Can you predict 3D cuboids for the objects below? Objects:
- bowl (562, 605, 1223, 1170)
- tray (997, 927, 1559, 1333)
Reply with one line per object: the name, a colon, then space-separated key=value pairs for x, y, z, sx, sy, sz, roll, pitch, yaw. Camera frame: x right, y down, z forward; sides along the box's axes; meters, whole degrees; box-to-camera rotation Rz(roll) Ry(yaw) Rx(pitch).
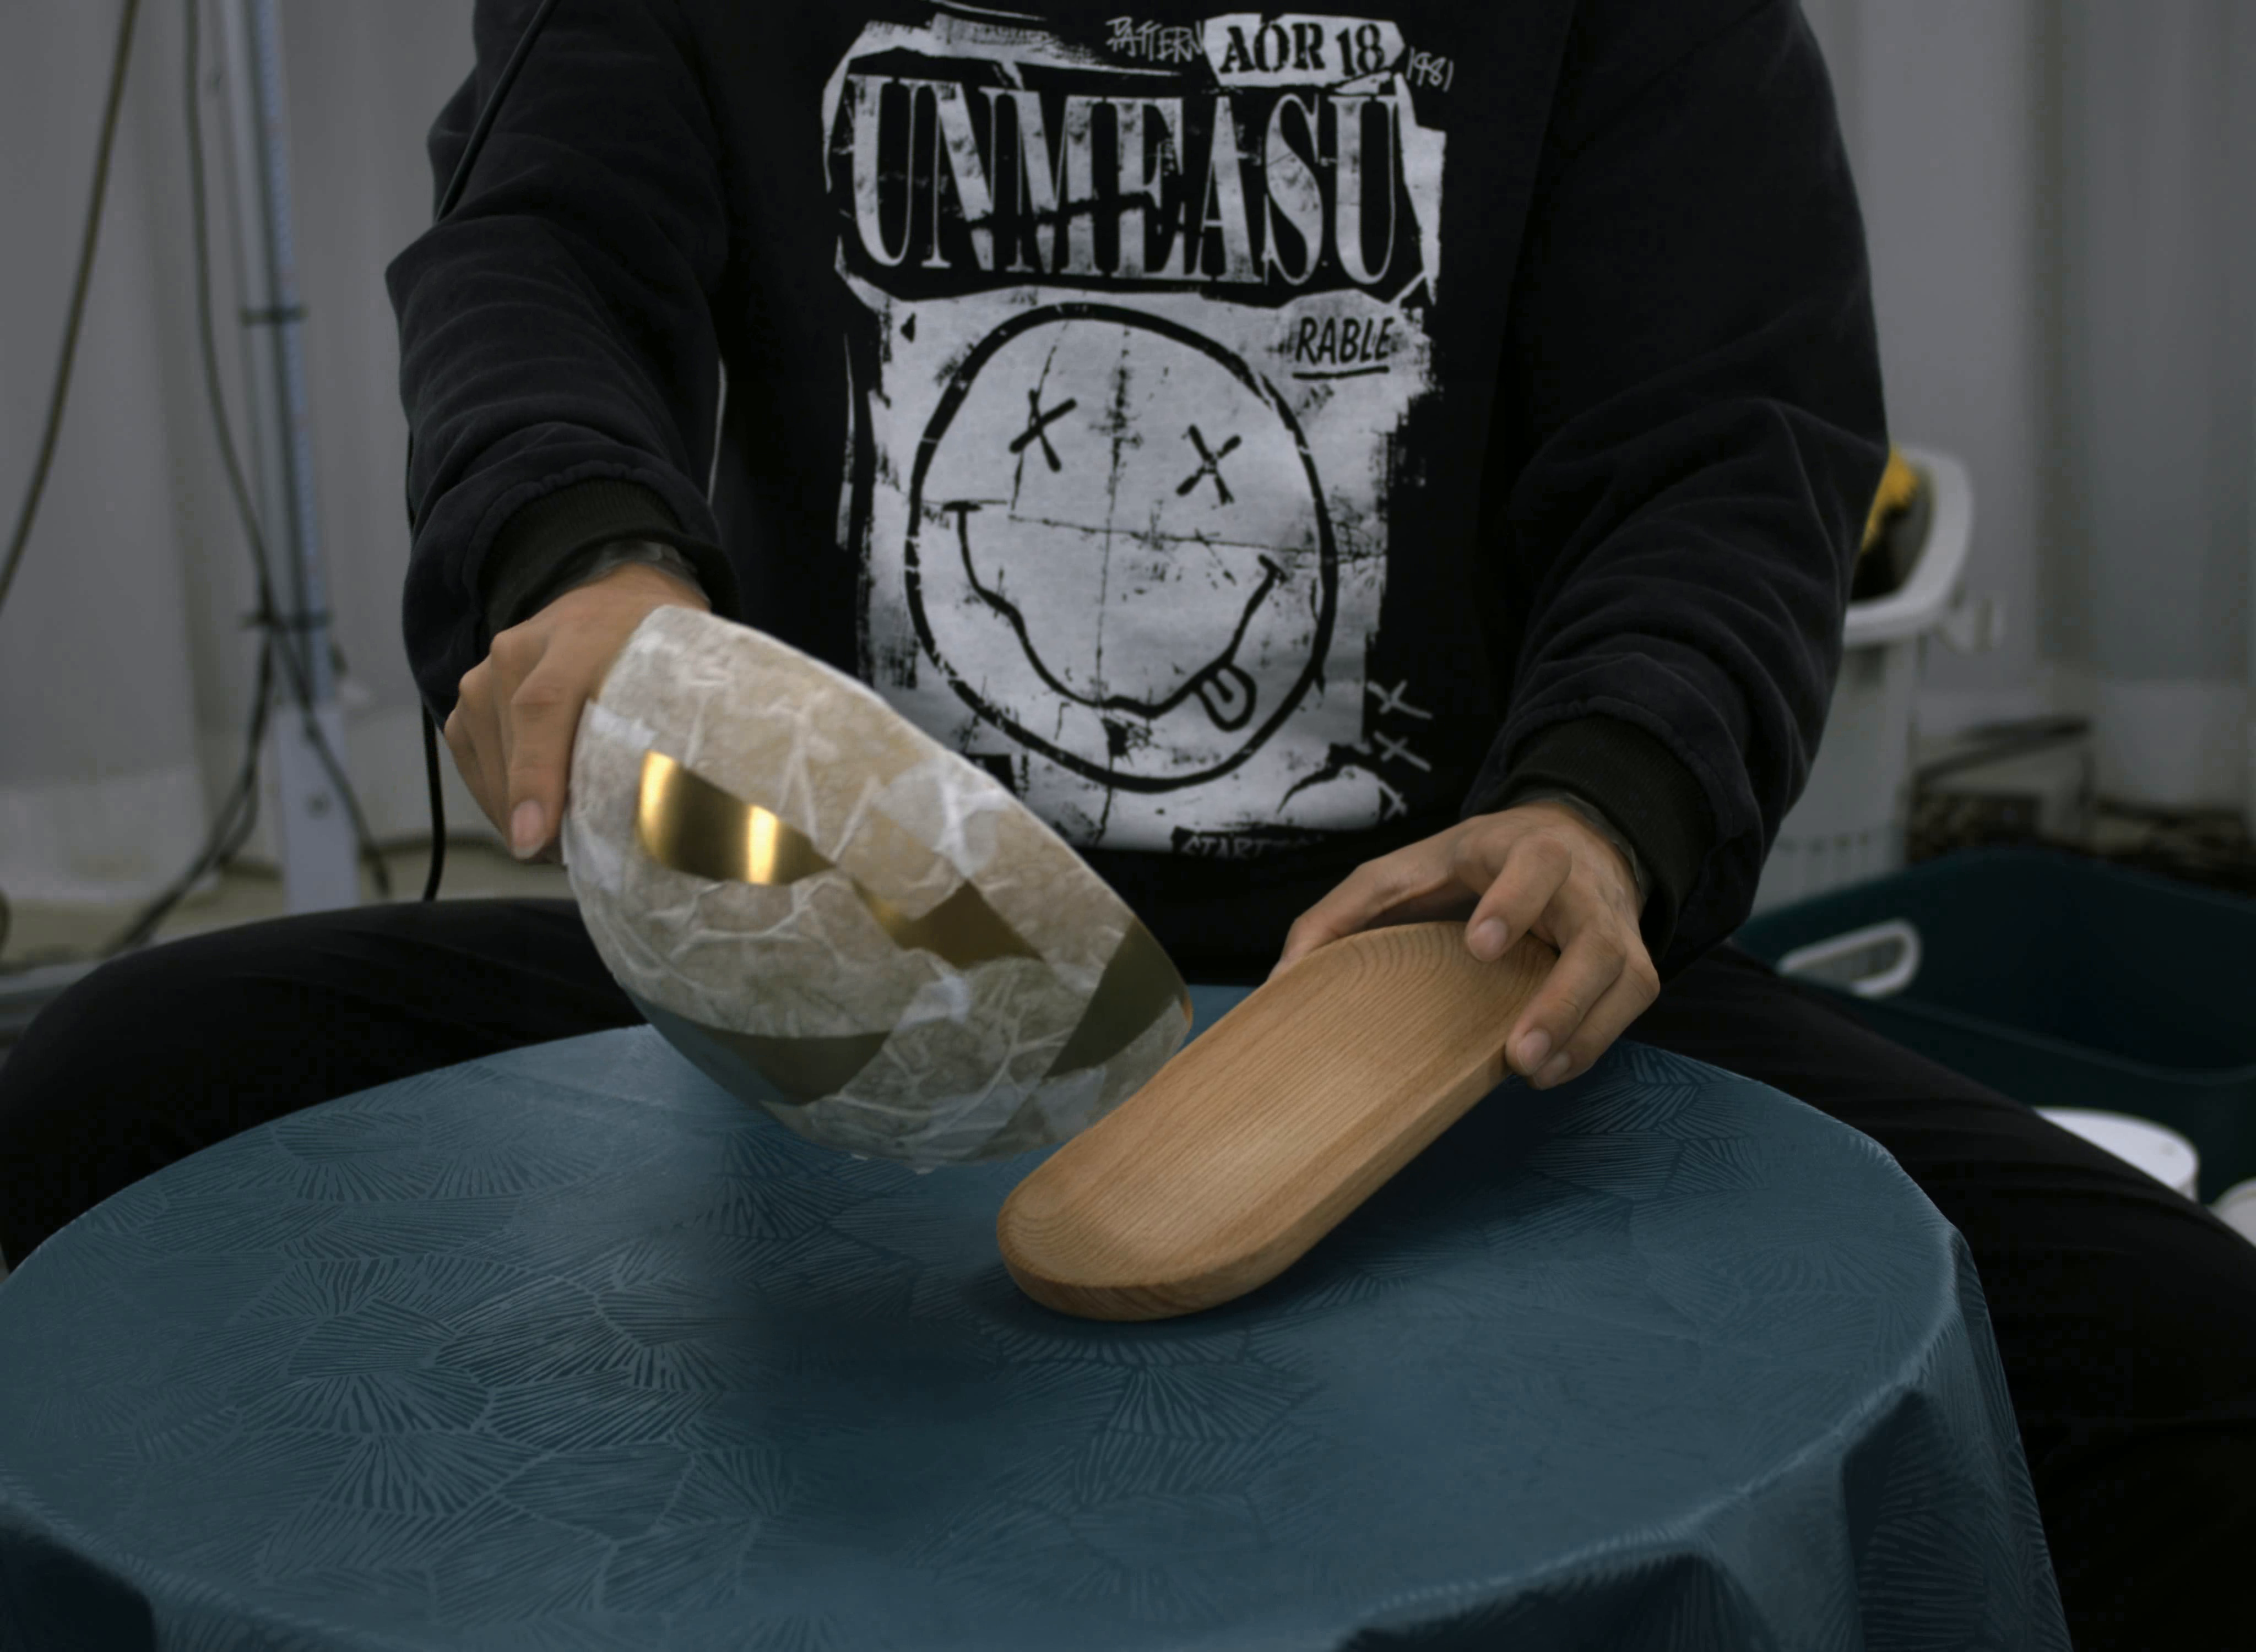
bowl: x=-0.085 y=0.036 z=1.564 sx=0.216 sy=0.212 sz=0.095 roll=17 pitch=67 yaw=51
tray: x=0.049 y=0.091 z=1.675 sx=0.102 sy=0.020 sz=0.232 roll=5 pitch=31 yaw=38
